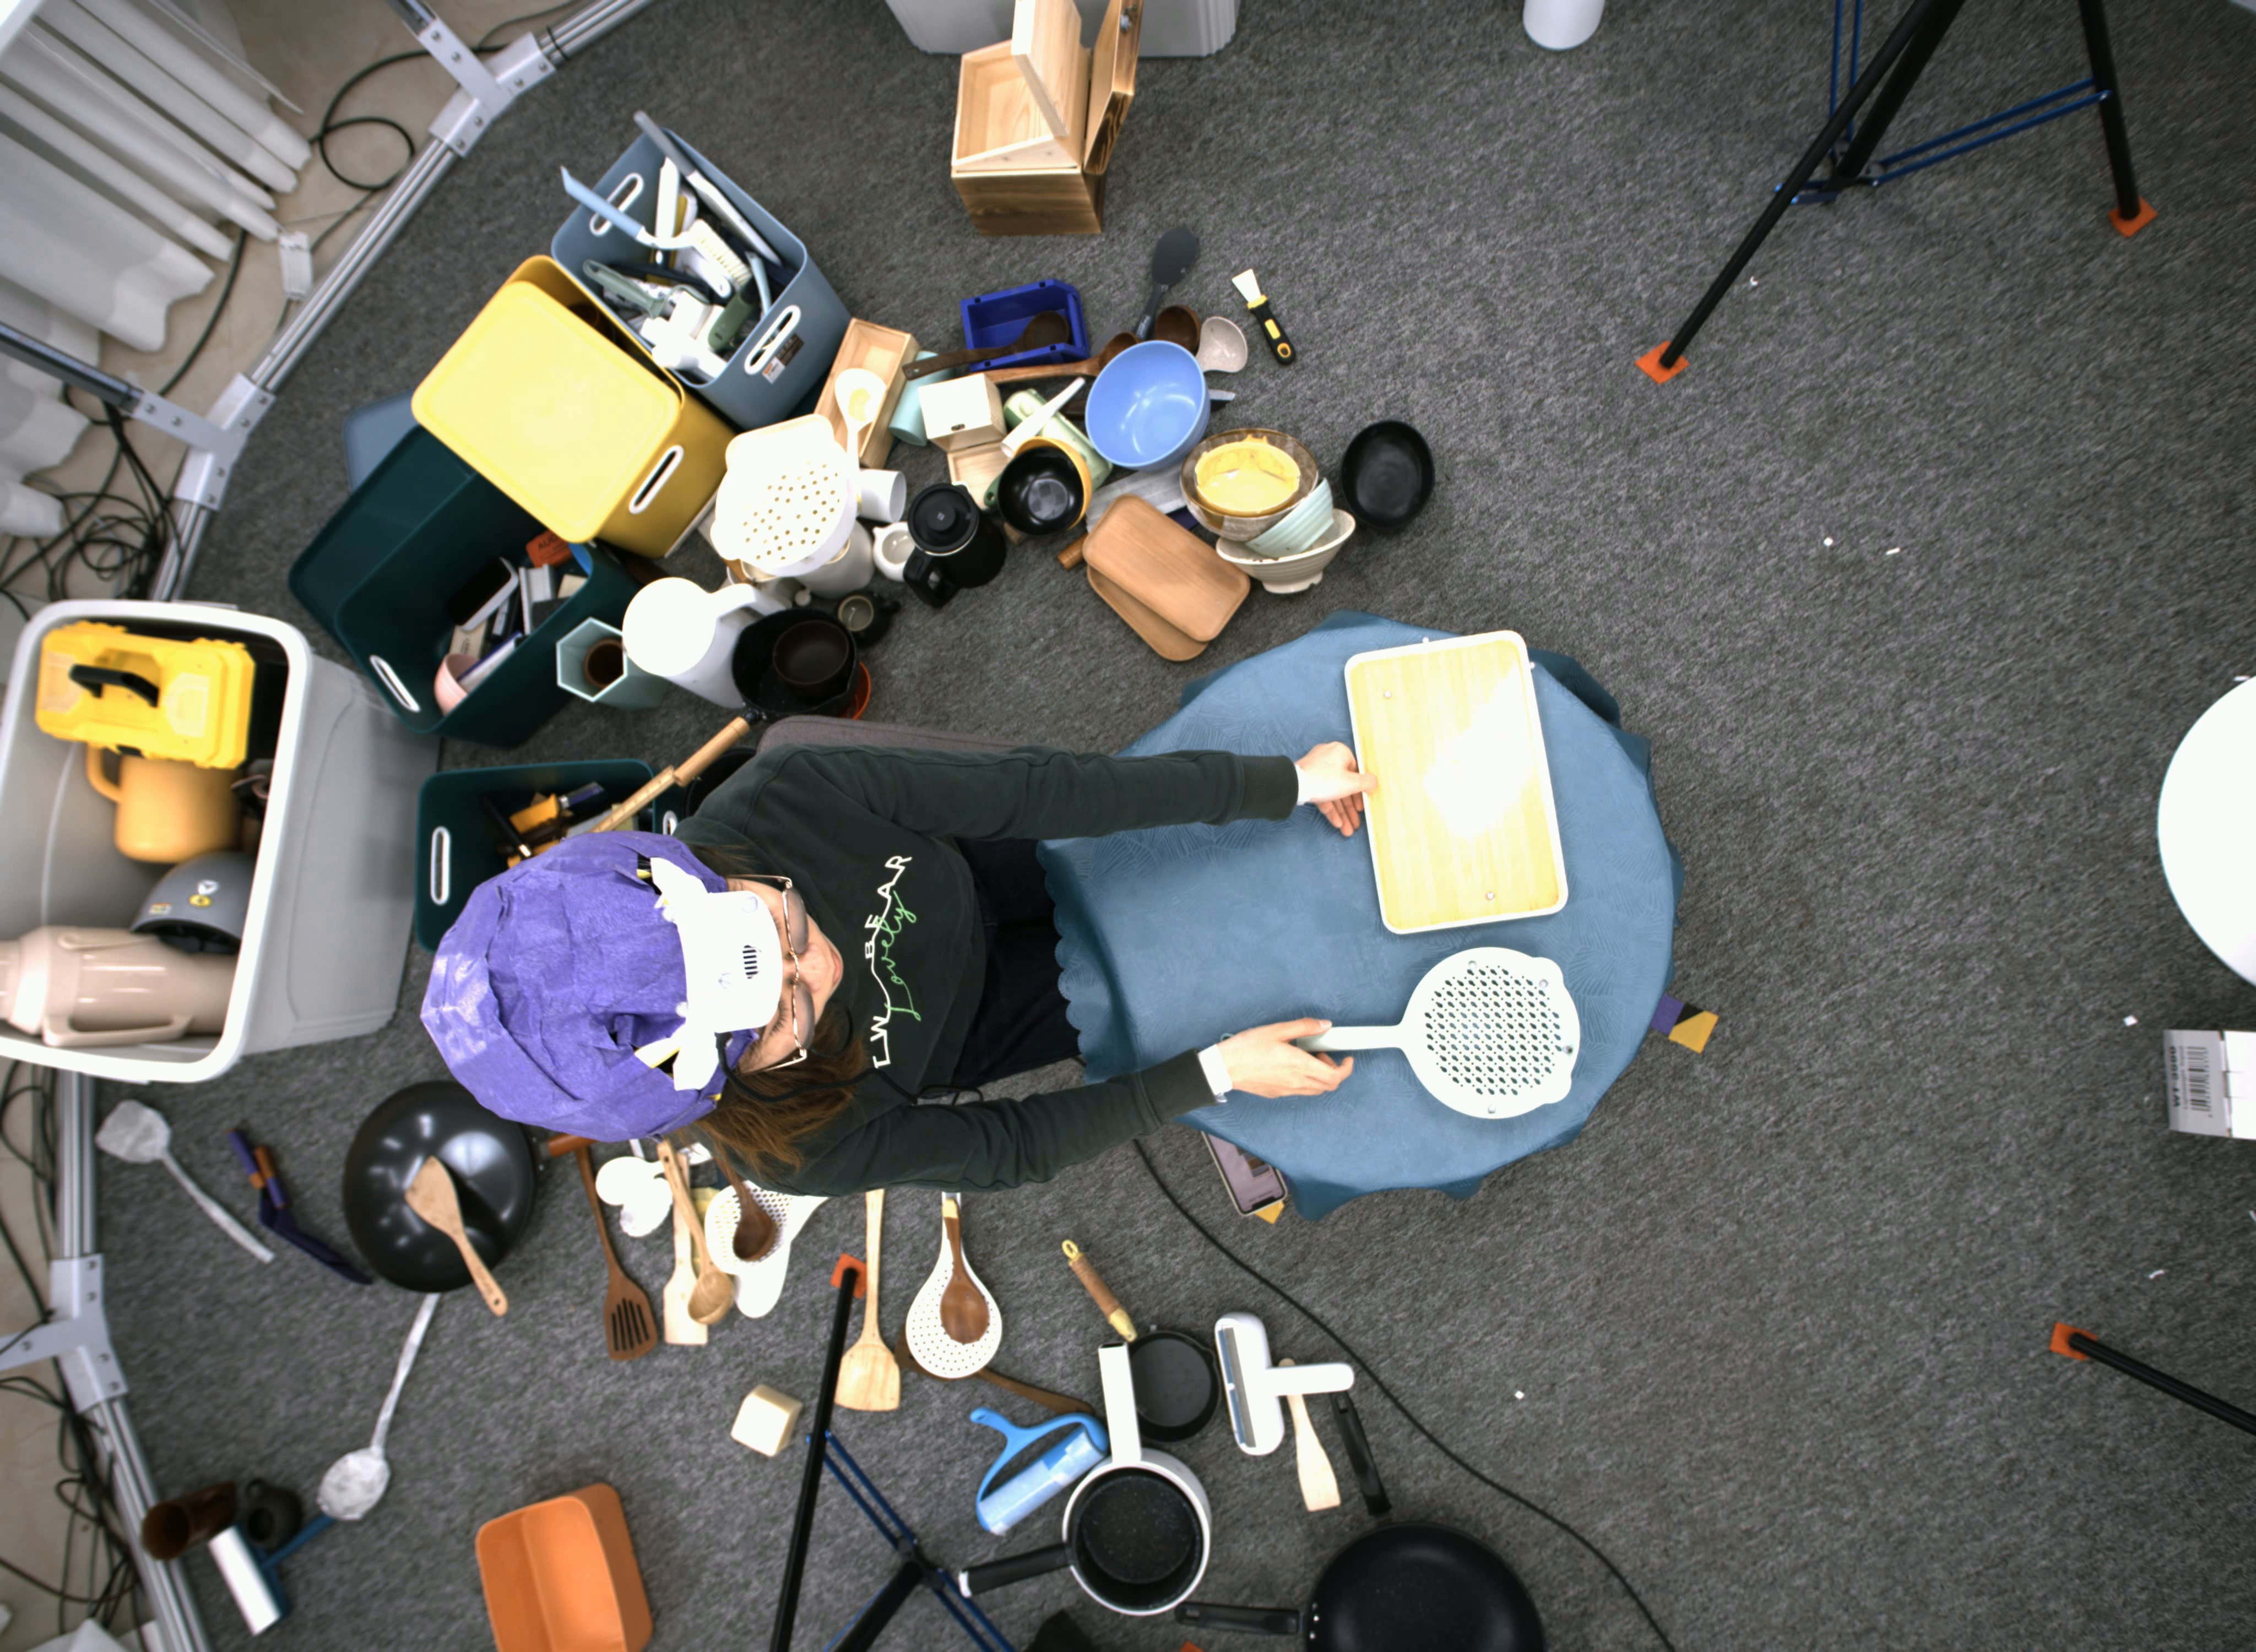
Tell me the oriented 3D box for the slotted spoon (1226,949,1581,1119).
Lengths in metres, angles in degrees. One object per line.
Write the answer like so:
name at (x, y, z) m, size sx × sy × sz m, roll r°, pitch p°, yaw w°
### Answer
slotted spoon at (0.276, 0.216, 1.421) m, size 0.360 × 0.075 × 0.168 m, roll -4°, pitch 83°, yaw 10°

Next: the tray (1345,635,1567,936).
tray at (0.343, -0.044, 1.446) m, size 0.192 × 0.027 × 0.298 m, roll -8°, pitch 84°, yaw 10°
